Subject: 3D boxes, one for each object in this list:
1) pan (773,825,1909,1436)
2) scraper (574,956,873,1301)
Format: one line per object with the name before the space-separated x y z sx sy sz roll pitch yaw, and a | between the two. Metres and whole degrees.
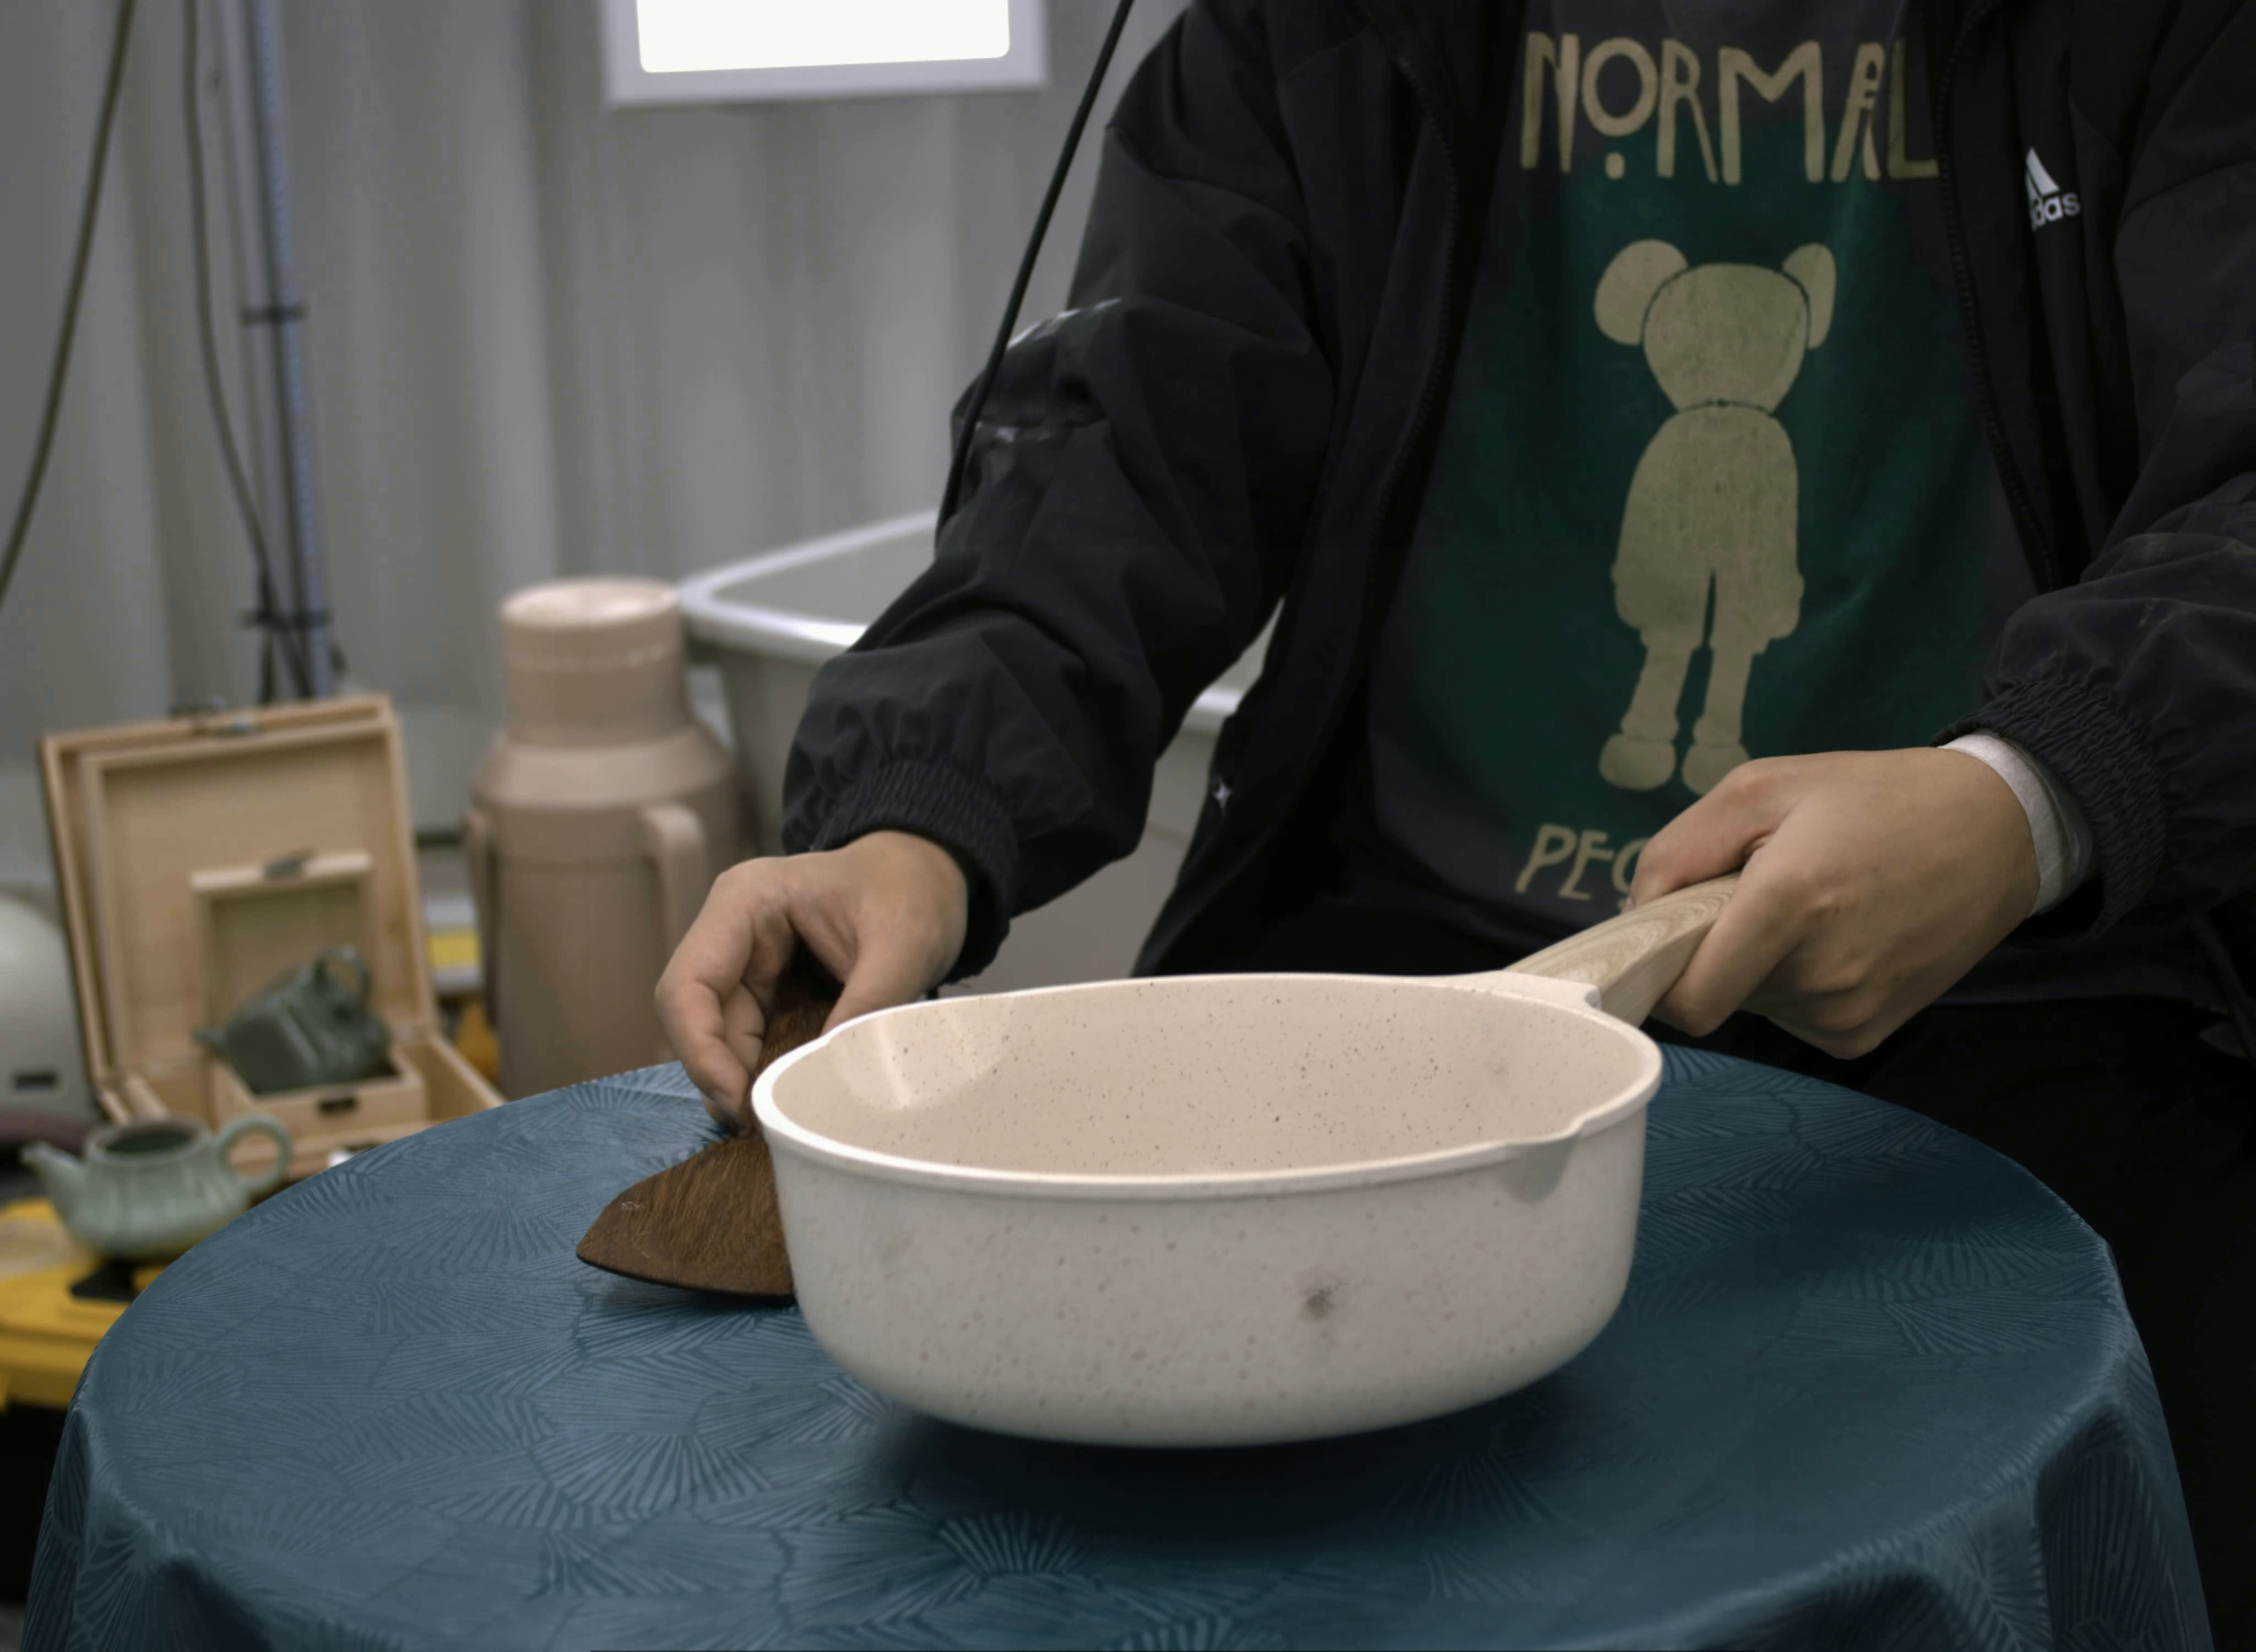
pan | 0.092 0.083 1.571 0.264 0.102 0.433 6 13 44
scraper | -0.114 0.093 1.721 0.076 0.011 0.213 10 28 6
